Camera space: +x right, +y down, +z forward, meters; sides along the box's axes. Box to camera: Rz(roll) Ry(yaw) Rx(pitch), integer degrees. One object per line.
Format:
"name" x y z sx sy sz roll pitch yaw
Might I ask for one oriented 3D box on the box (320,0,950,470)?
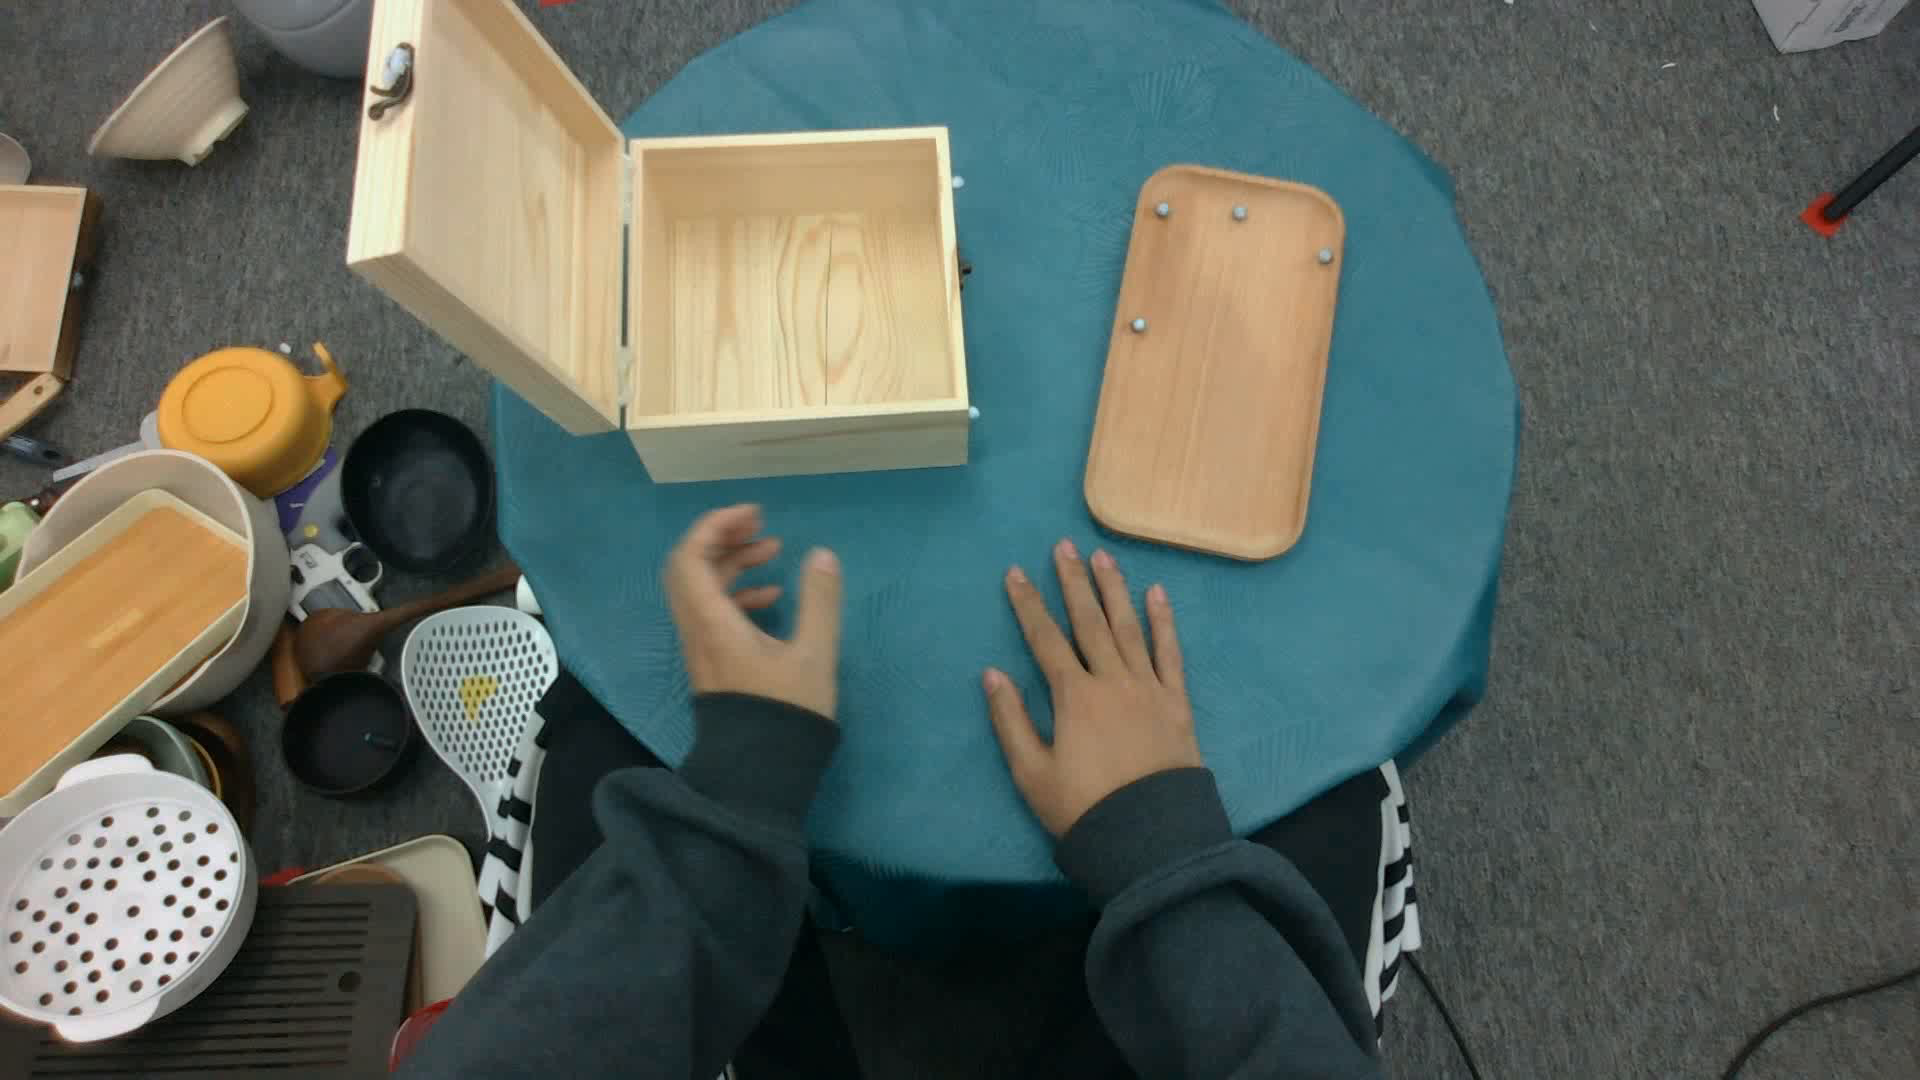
"box" -0.137 -0.167 0.703 0.265 0.252 0.182 -5 73 -2

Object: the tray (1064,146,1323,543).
"tray" 0.140 -0.120 0.813 0.130 0.023 0.251 10 70 5
